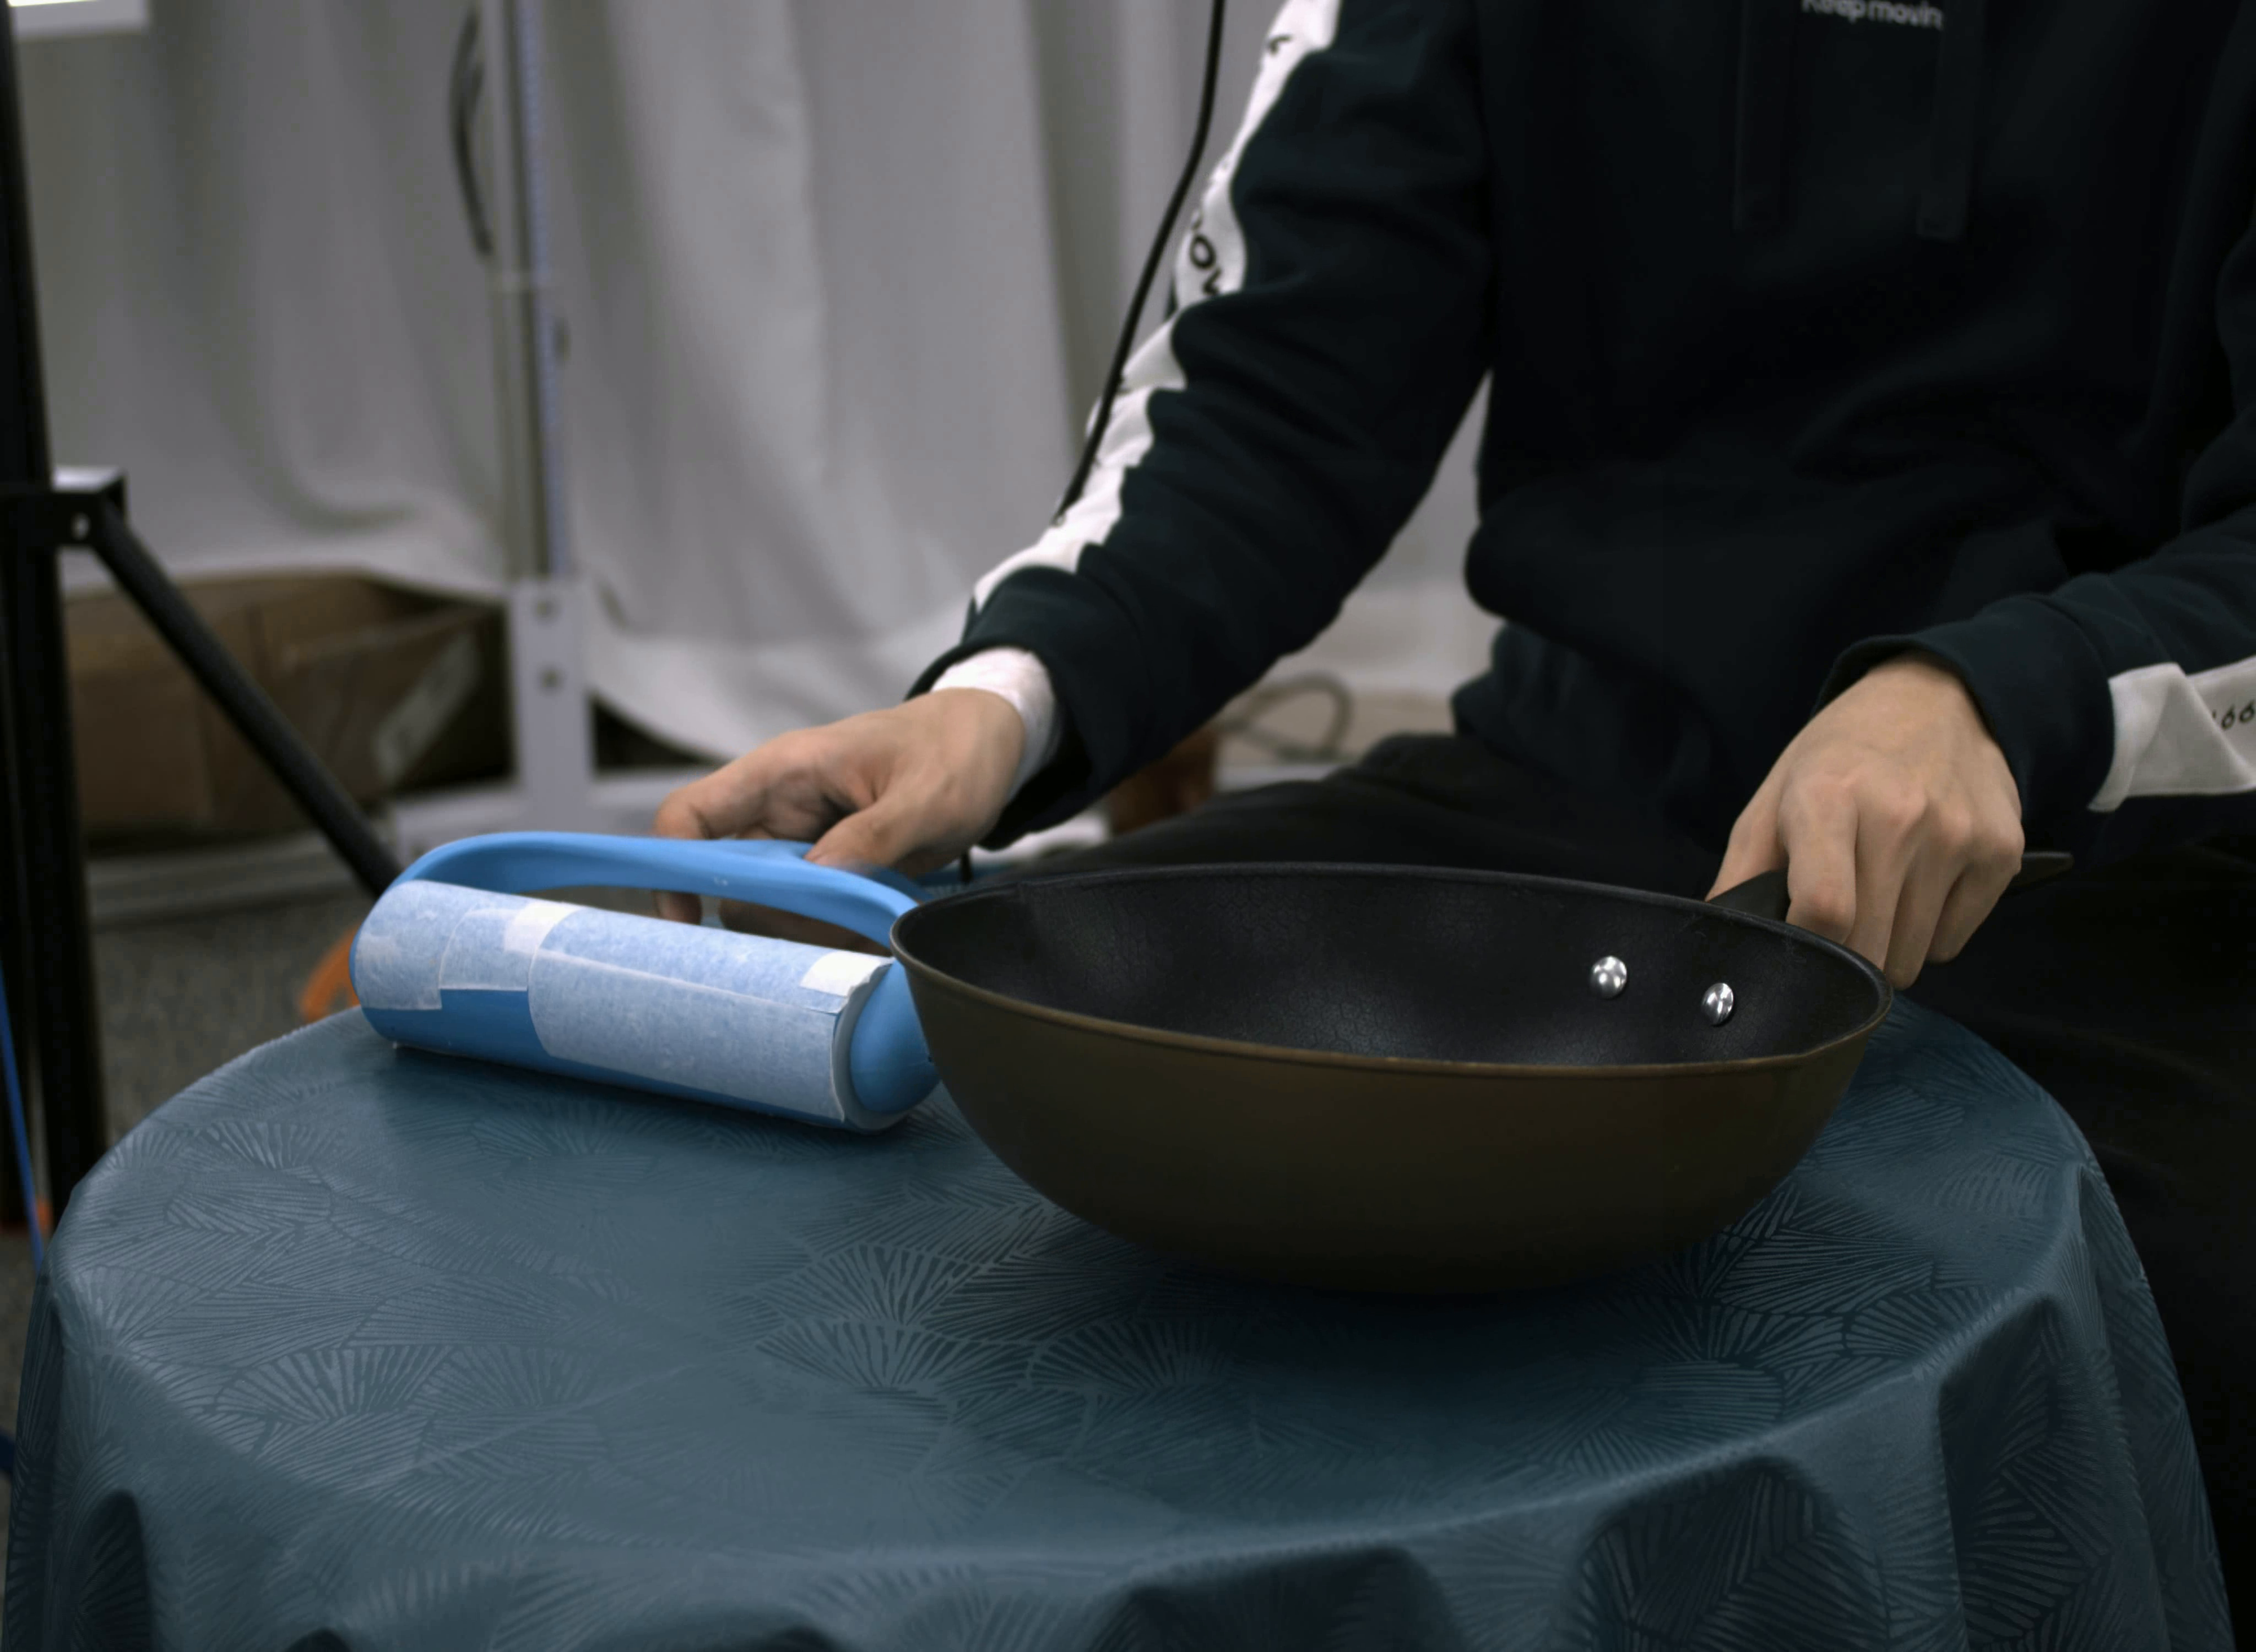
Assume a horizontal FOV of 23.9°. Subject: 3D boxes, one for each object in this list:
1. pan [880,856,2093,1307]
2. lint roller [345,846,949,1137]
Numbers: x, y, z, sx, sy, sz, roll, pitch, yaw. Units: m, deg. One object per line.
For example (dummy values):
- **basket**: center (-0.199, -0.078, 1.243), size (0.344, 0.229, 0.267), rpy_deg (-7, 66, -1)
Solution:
- **pan**: center (0.132, 0.067, 1.545), size (0.451, 0.087, 0.295), rpy_deg (-7, 14, -44)
- **lint roller**: center (-0.123, 0.039, 1.714), size (0.233, 0.068, 0.177), rpy_deg (5, 20, 32)
